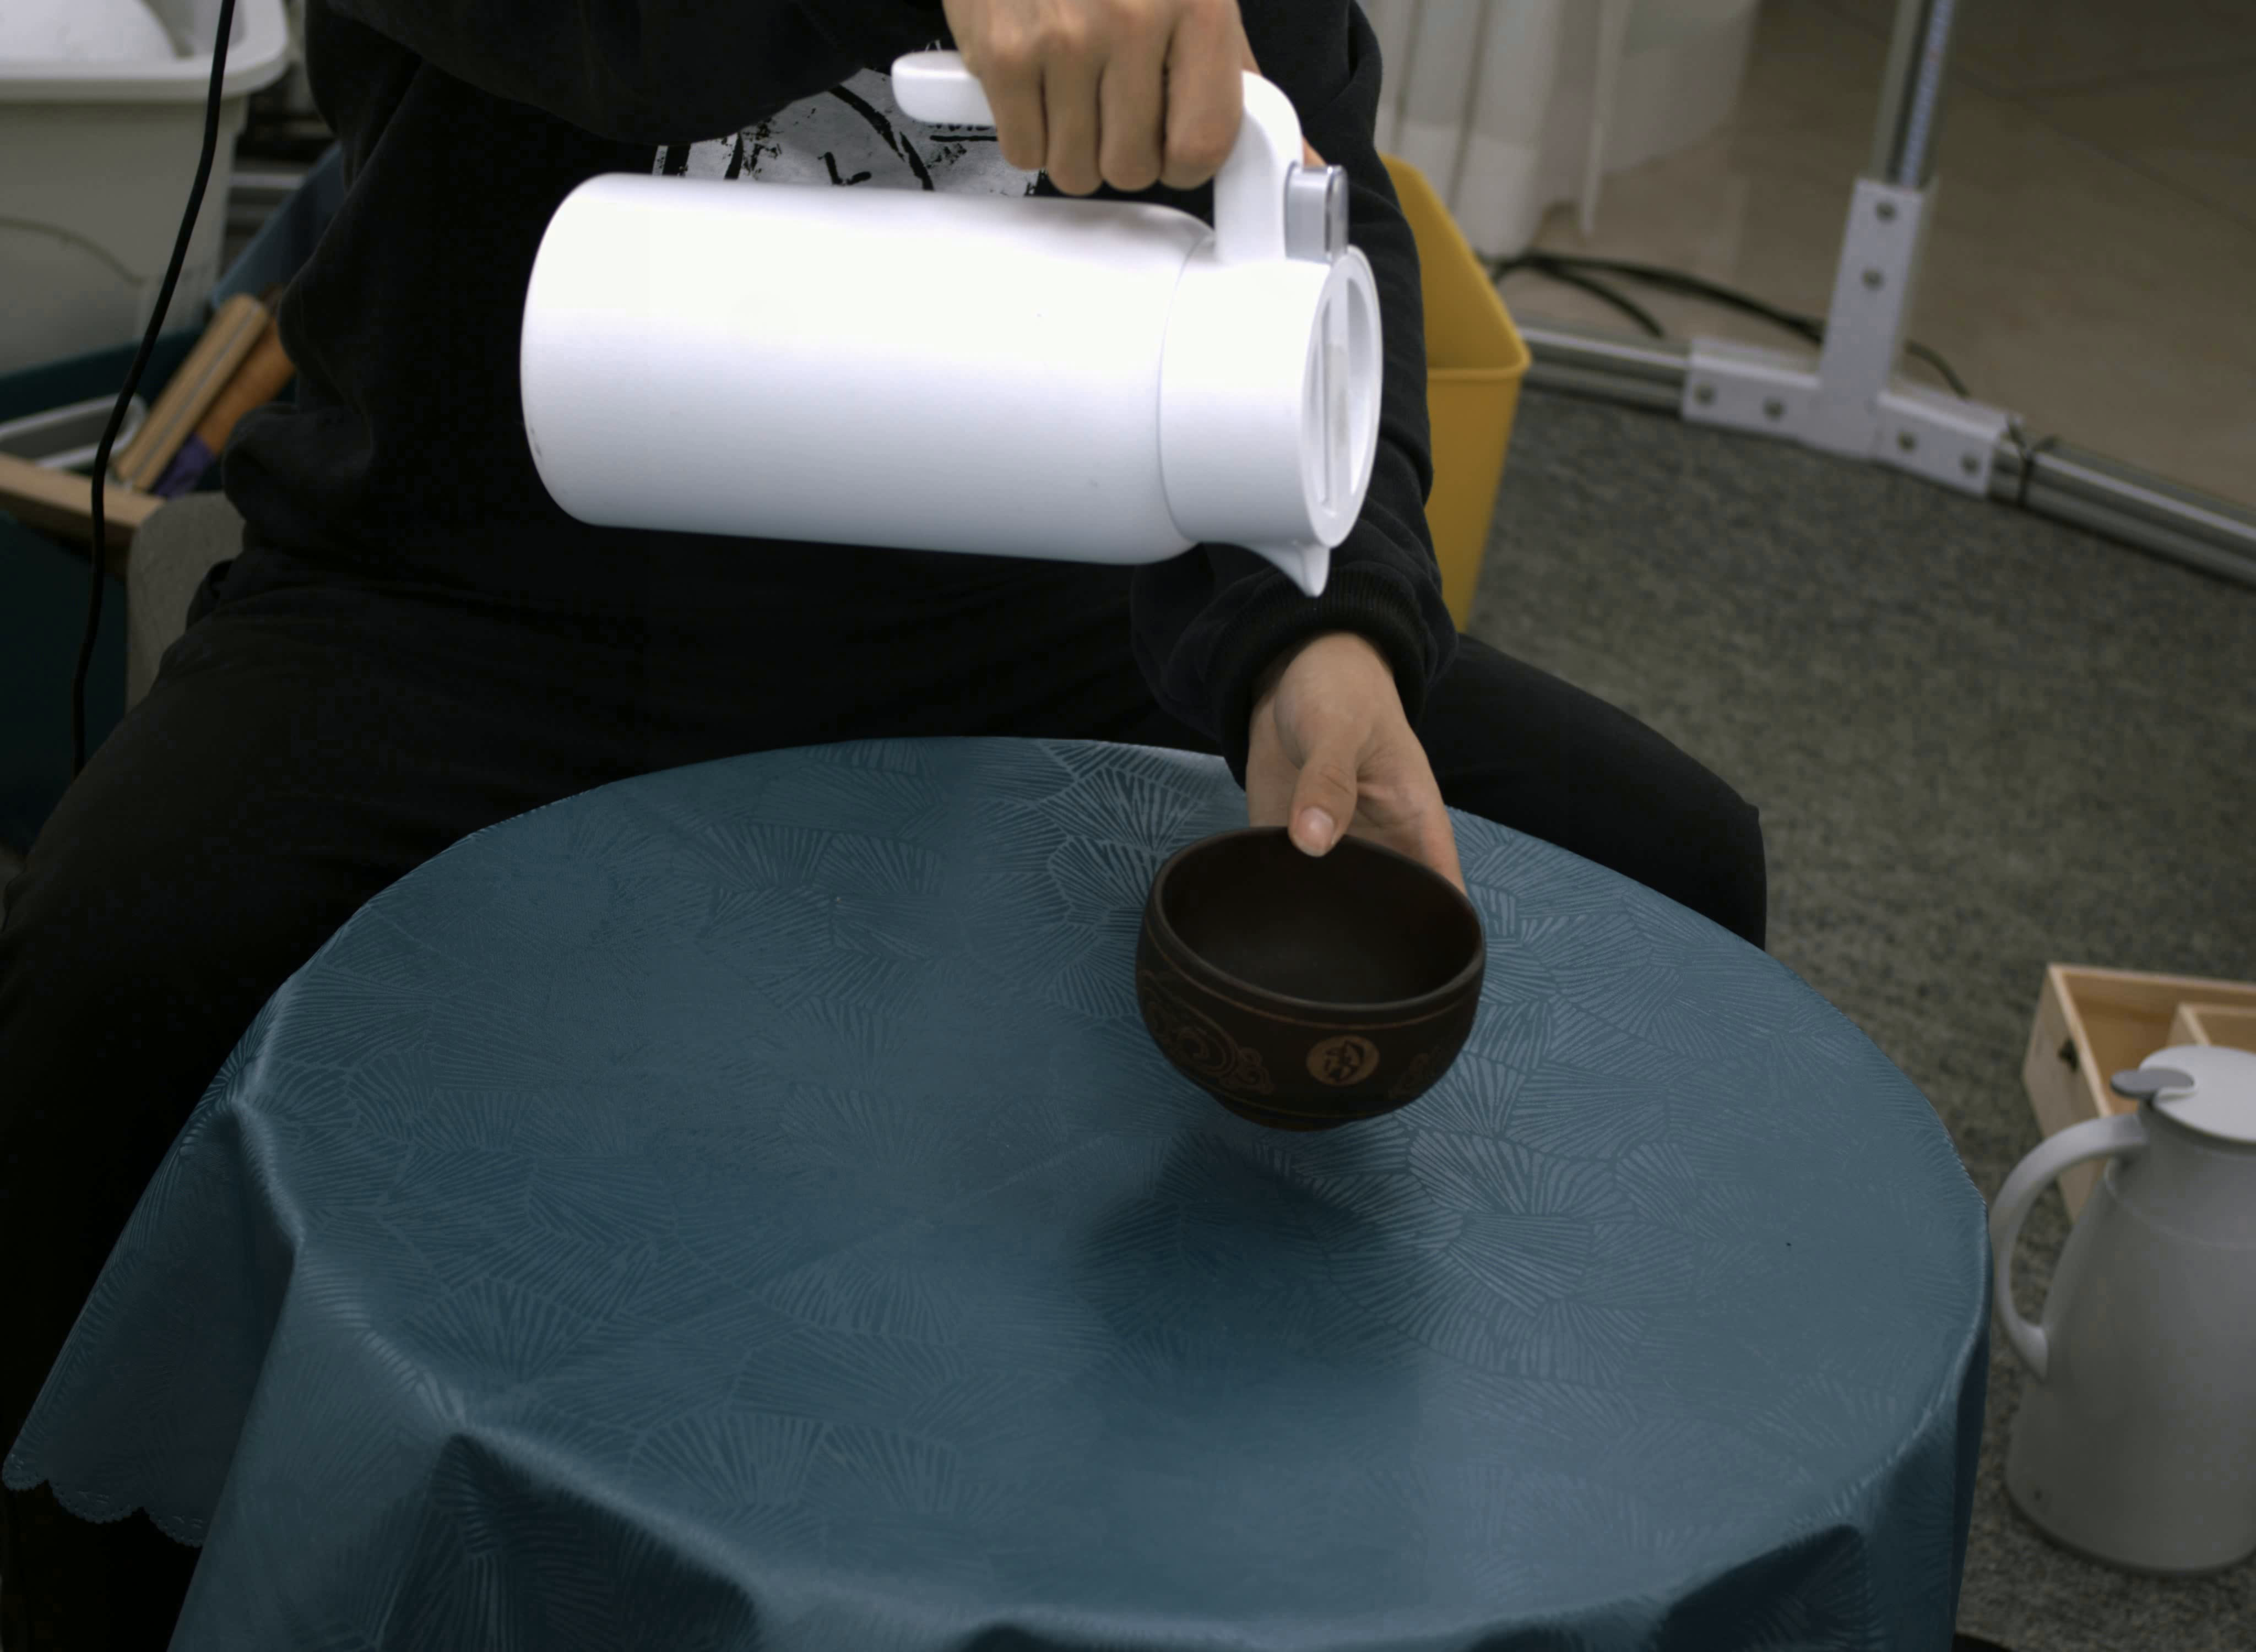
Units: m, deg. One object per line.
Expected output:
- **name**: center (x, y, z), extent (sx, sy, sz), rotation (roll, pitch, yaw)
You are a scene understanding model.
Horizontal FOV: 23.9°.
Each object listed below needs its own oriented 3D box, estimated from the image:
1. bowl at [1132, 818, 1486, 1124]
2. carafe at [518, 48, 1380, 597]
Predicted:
- **bowl**: center (0.058, 0.056, 1.785), extent (0.117, 0.069, 0.119), rotation (6, 30, -4)
- **carafe**: center (-0.059, -0.165, 1.731), extent (0.269, 0.172, 0.124), rotation (6, 24, 19)
